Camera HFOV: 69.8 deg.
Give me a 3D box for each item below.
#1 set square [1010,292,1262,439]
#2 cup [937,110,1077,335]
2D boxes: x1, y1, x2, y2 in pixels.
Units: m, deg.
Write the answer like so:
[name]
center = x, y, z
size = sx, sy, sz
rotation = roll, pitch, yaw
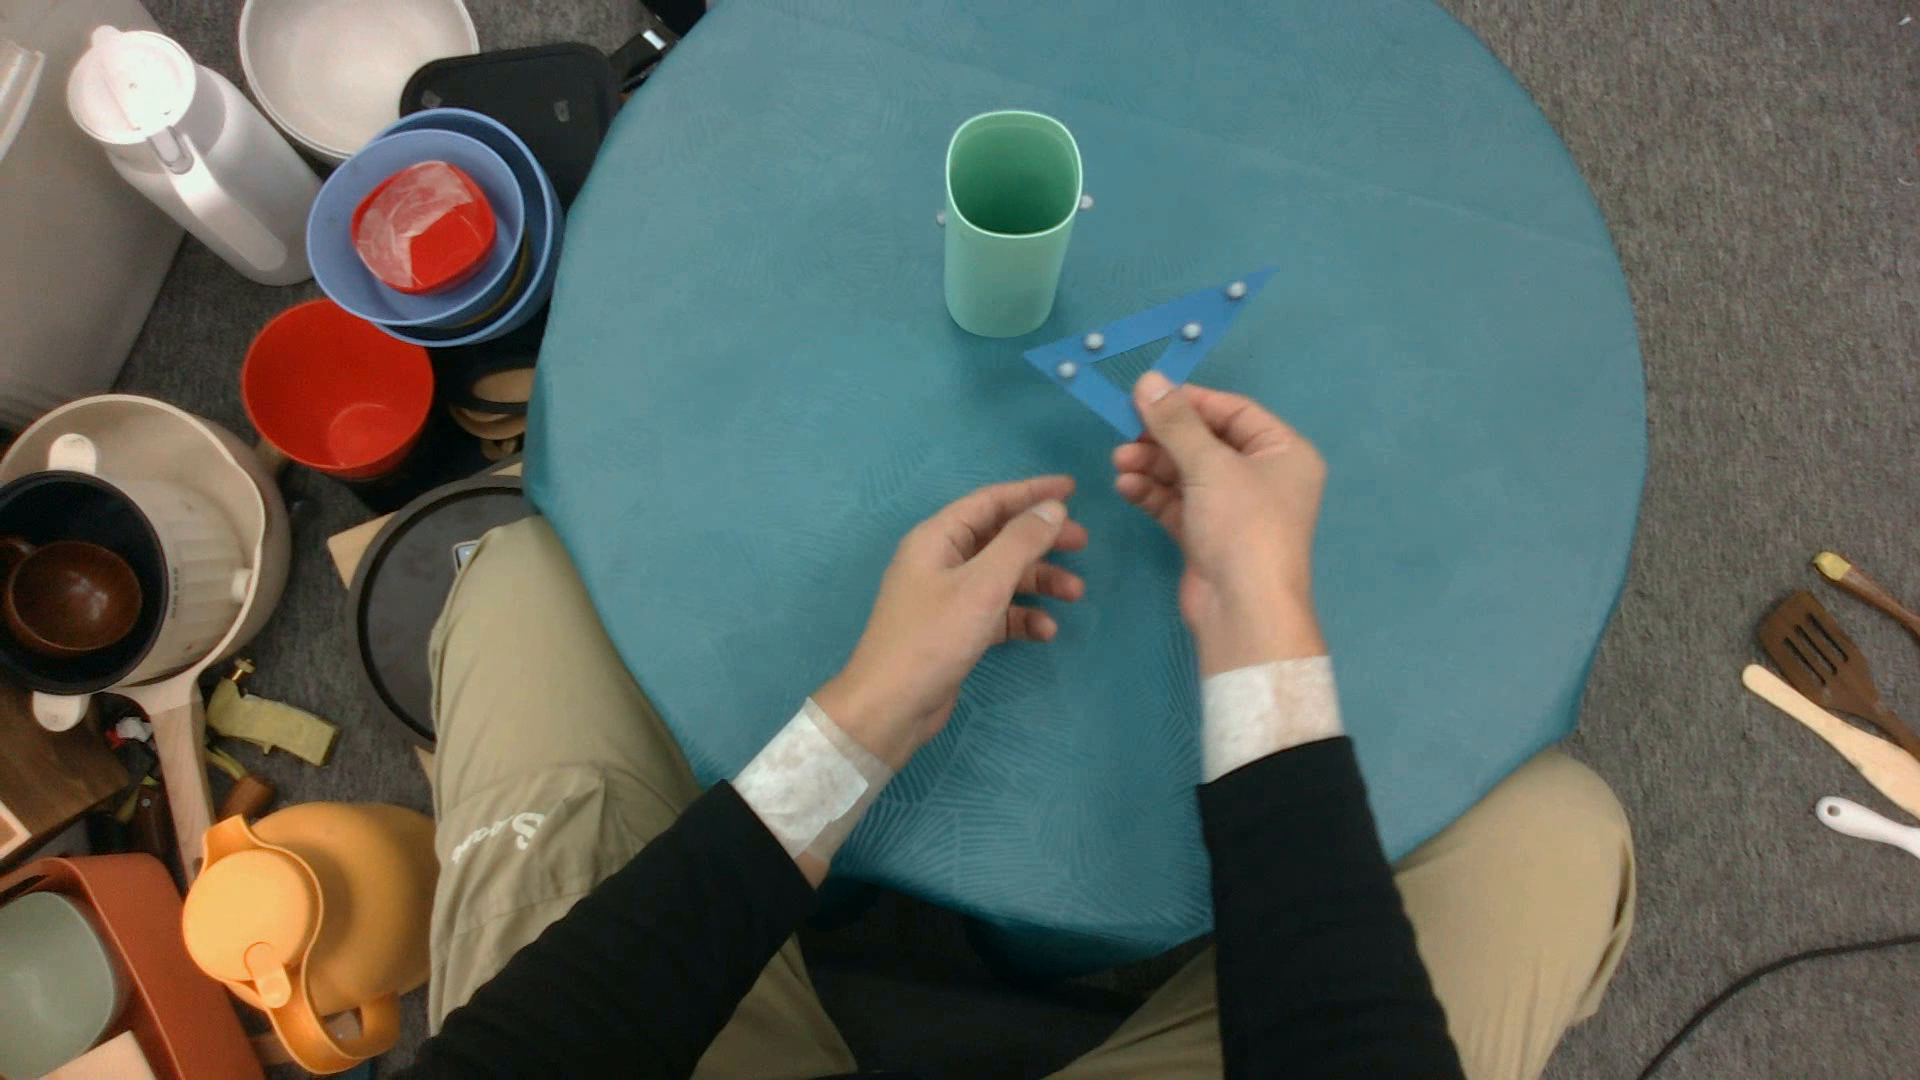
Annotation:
[set square]
center = 0.095, -0.085, 0.674
size = 0.132, 0.006, 0.061
rotation = -14, 75, -12
[cup]
center = 0.020, -0.155, 0.698
size = 0.067, 0.132, 0.067
rotation = 1, 77, -3
